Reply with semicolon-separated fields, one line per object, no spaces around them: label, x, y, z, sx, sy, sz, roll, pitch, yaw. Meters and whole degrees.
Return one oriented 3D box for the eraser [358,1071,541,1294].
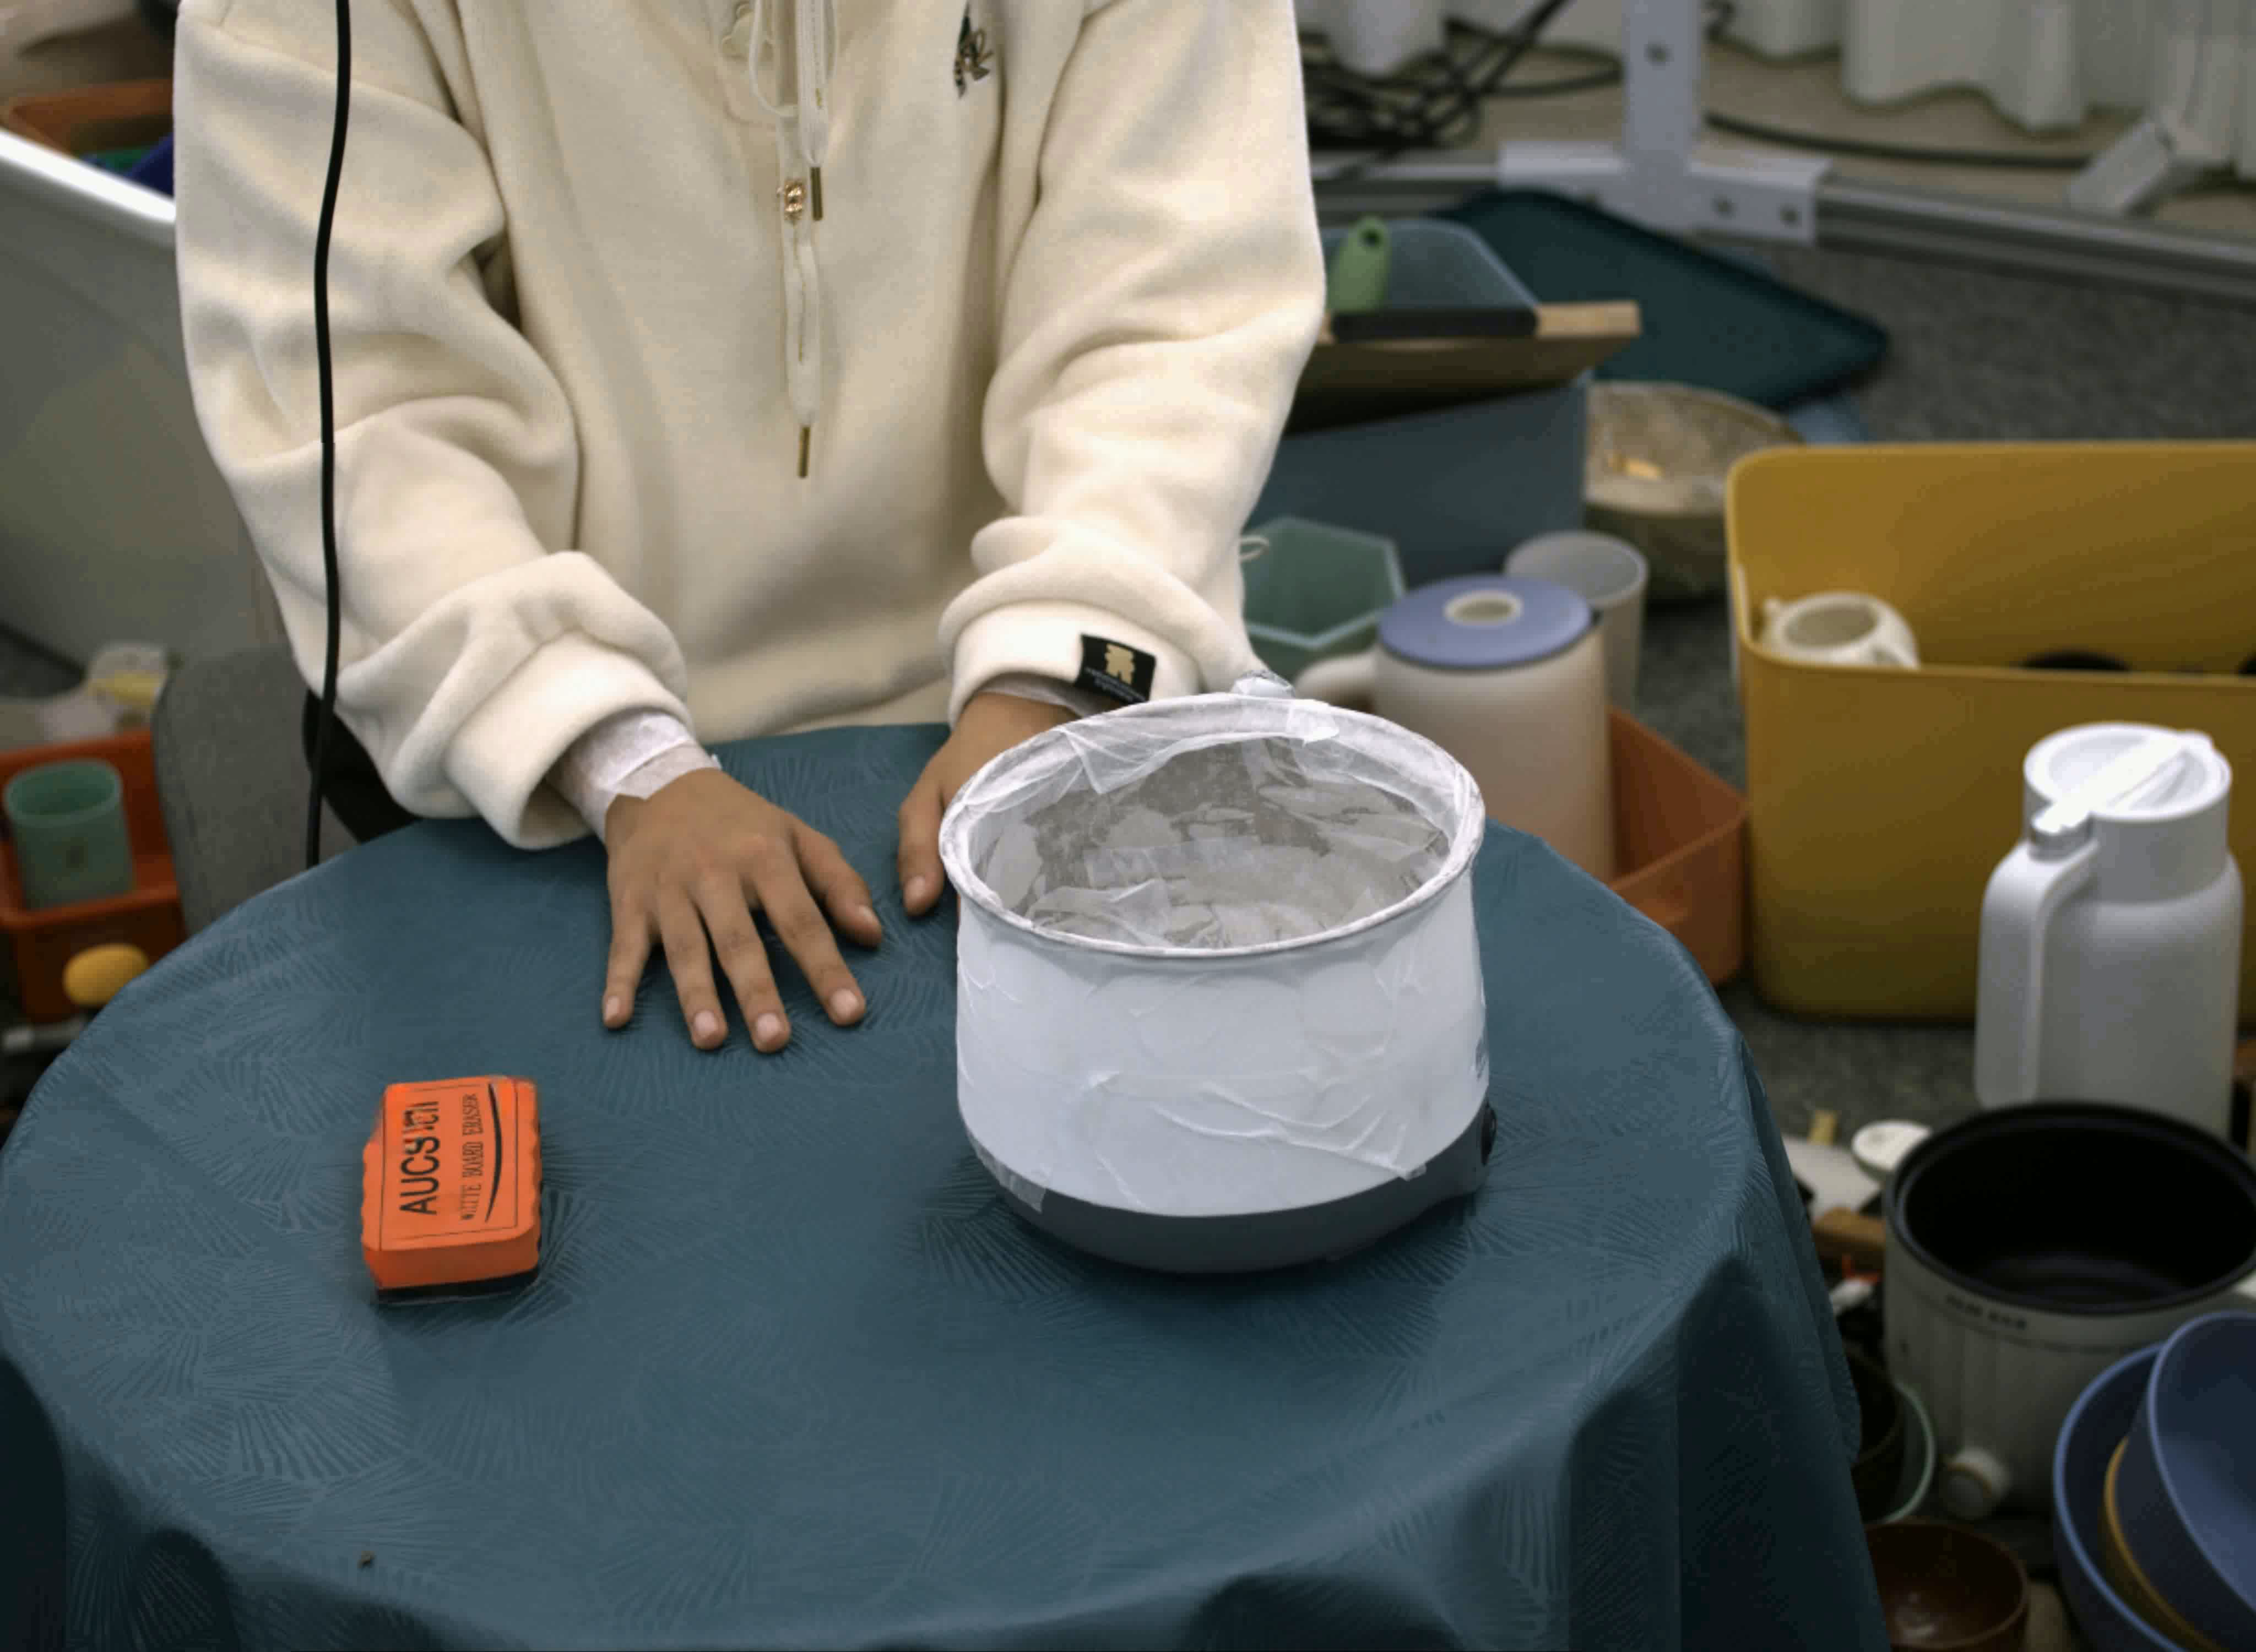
eraser;-0.224;0.118;1.859;0.059;0.022;0.109;-5;25;-4

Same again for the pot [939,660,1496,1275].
pot;0.034;0.039;1.866;0.177;0.135;0.238;1;29;9
